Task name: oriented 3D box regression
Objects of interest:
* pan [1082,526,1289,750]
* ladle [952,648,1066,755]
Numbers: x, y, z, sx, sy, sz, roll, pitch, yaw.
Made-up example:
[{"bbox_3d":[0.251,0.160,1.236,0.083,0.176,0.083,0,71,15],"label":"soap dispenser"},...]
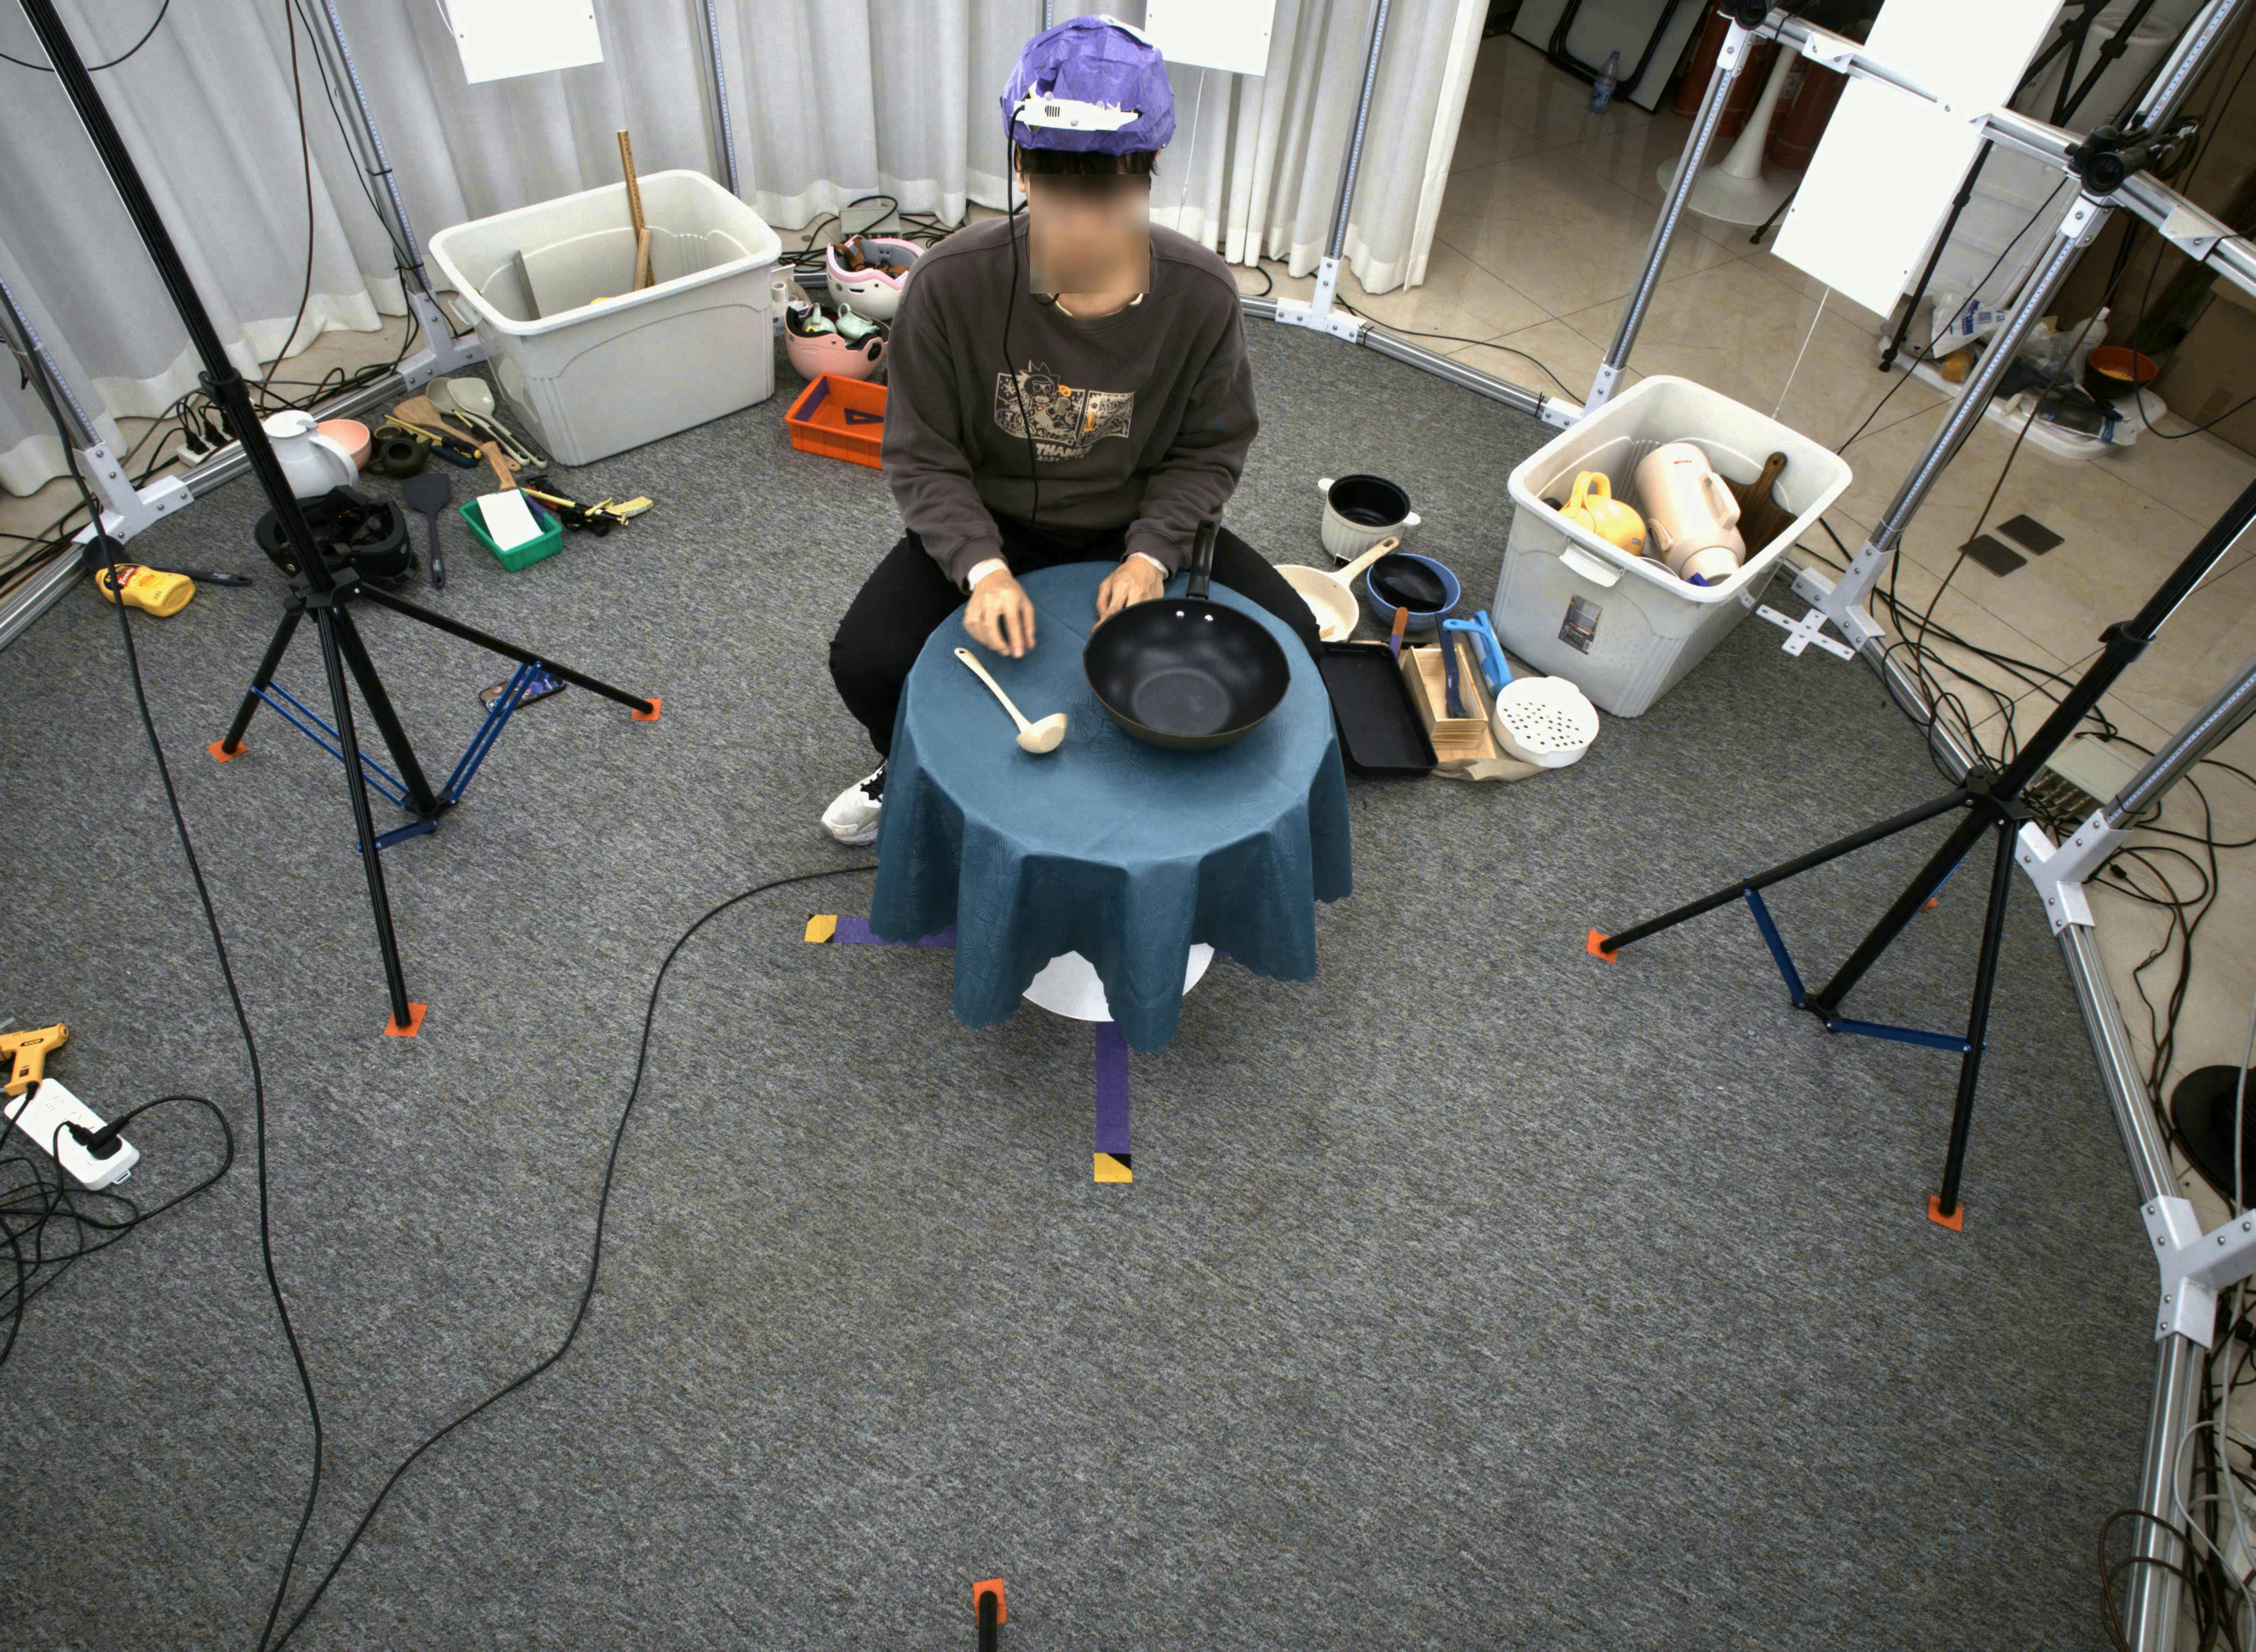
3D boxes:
[{"bbox_3d":[0.089,-0.267,1.850,0.288,0.085,0.474,8,48,3],"label":"pan"},{"bbox_3d":[-0.176,-0.194,1.776,0.072,0.071,0.259,-30,58,-20],"label":"ladle"}]
